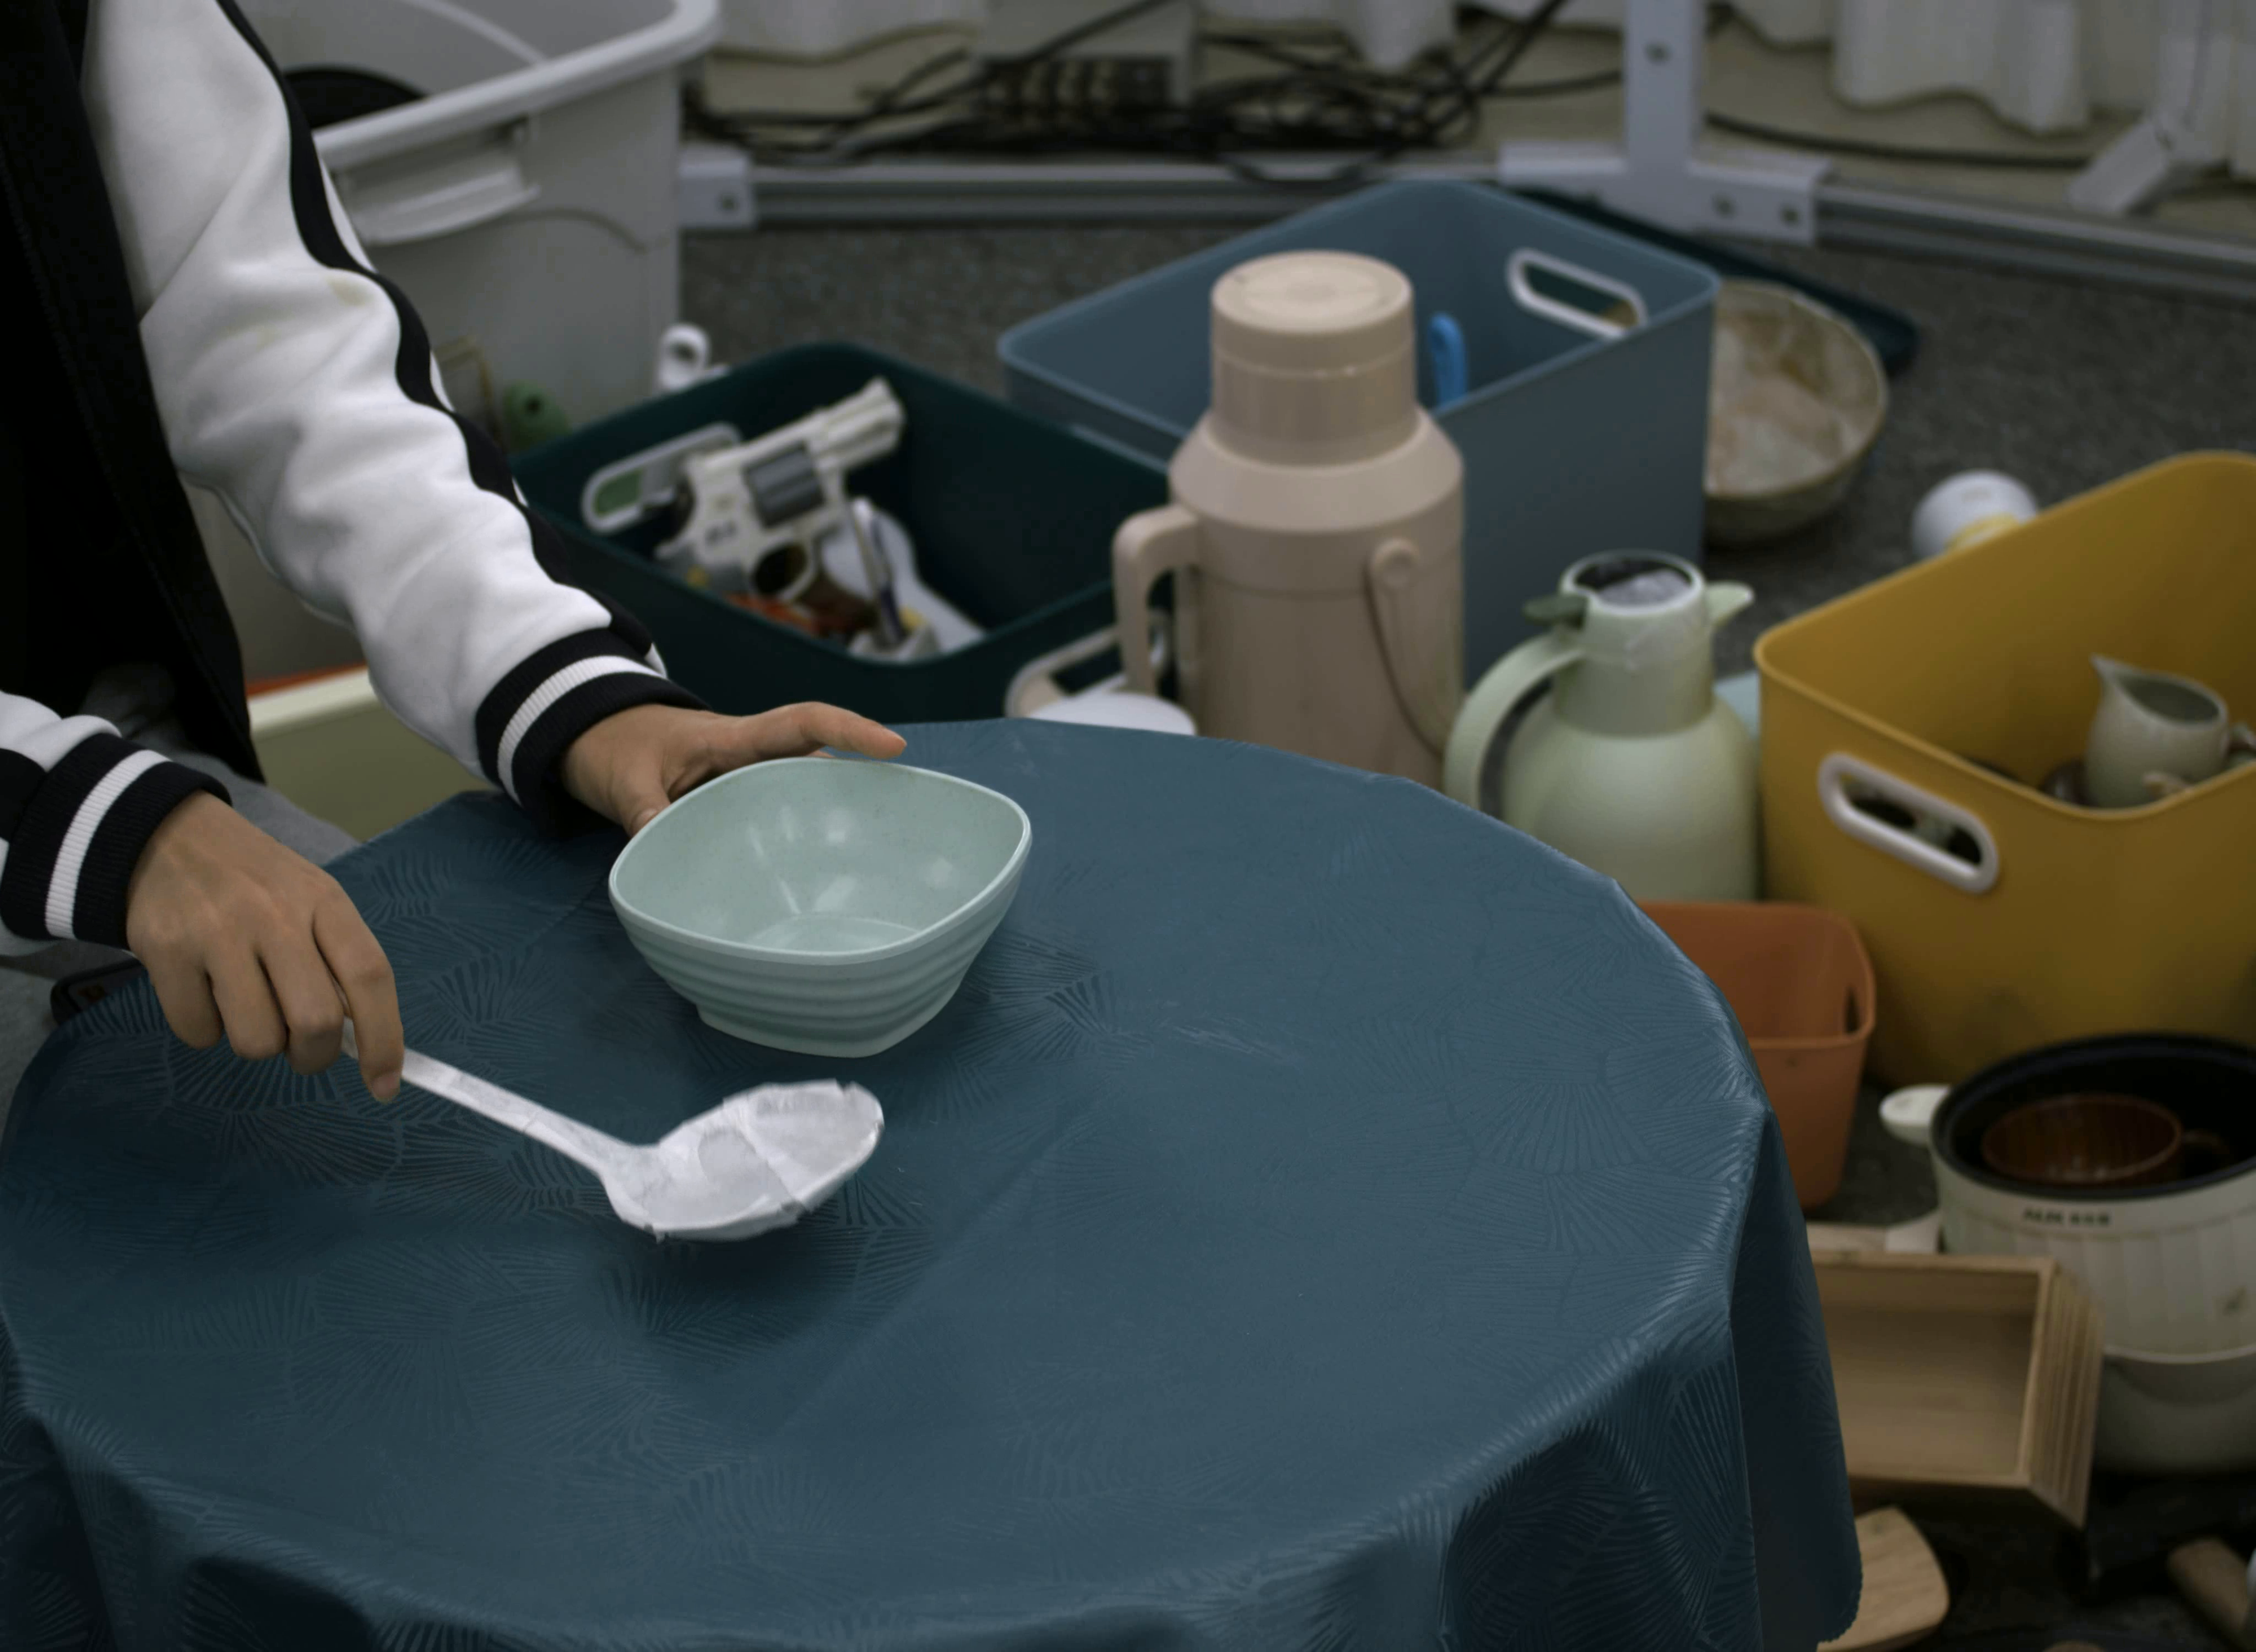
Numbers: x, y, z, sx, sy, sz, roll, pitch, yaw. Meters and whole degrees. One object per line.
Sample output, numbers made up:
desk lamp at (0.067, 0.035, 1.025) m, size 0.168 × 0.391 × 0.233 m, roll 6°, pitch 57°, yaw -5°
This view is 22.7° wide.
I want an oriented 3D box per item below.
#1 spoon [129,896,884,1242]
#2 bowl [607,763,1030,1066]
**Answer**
spoon at (-0.209, 0.066, 1.862) m, size 0.277 × 0.058 × 0.102 m, roll 27°, pitch 29°, yaw 14°
bowl at (-0.107, 0.037, 1.980) m, size 0.151 × 0.058 × 0.154 m, roll -2°, pitch 27°, yaw 1°
